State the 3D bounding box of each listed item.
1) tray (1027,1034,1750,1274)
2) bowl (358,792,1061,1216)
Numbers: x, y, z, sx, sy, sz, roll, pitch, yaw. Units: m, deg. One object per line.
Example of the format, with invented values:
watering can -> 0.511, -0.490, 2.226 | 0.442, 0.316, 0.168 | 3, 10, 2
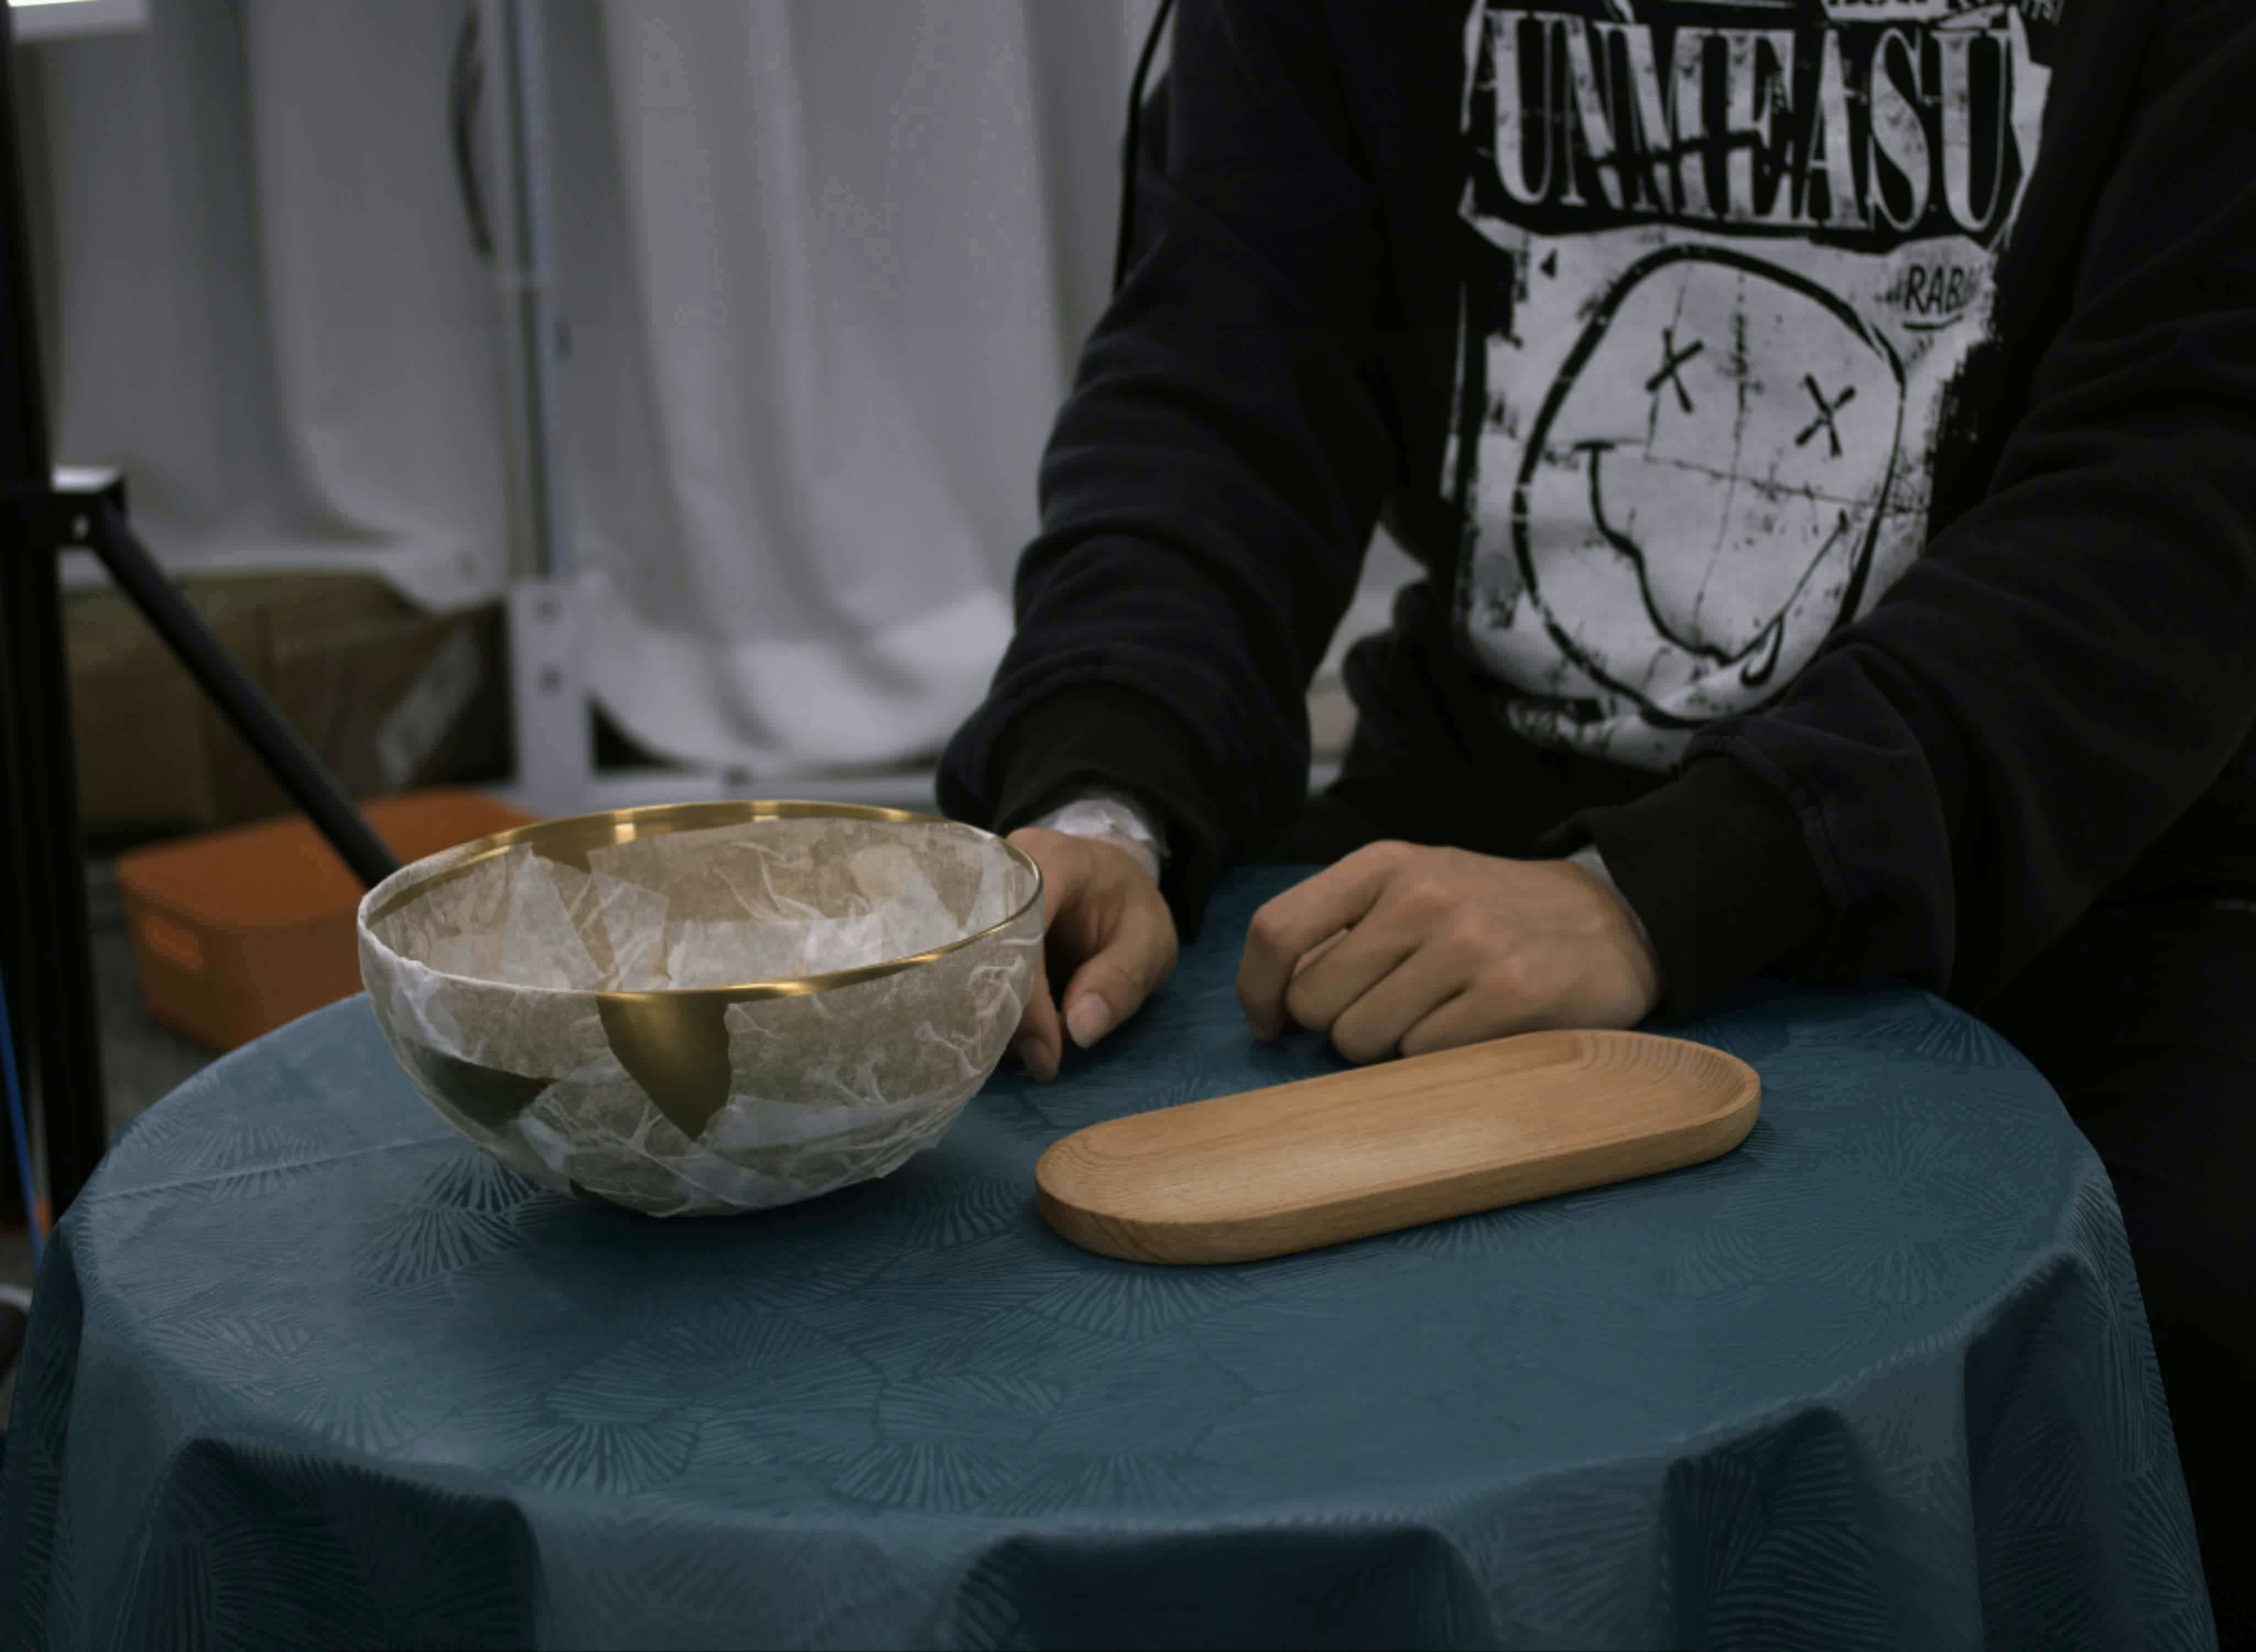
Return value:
tray -> 0.079, 0.096, 1.560 | 0.226, 0.020, 0.104 | -12, 16, -25
bowl -> -0.119, 0.061, 1.574 | 0.213, 0.094, 0.216 | -3, 15, -1
